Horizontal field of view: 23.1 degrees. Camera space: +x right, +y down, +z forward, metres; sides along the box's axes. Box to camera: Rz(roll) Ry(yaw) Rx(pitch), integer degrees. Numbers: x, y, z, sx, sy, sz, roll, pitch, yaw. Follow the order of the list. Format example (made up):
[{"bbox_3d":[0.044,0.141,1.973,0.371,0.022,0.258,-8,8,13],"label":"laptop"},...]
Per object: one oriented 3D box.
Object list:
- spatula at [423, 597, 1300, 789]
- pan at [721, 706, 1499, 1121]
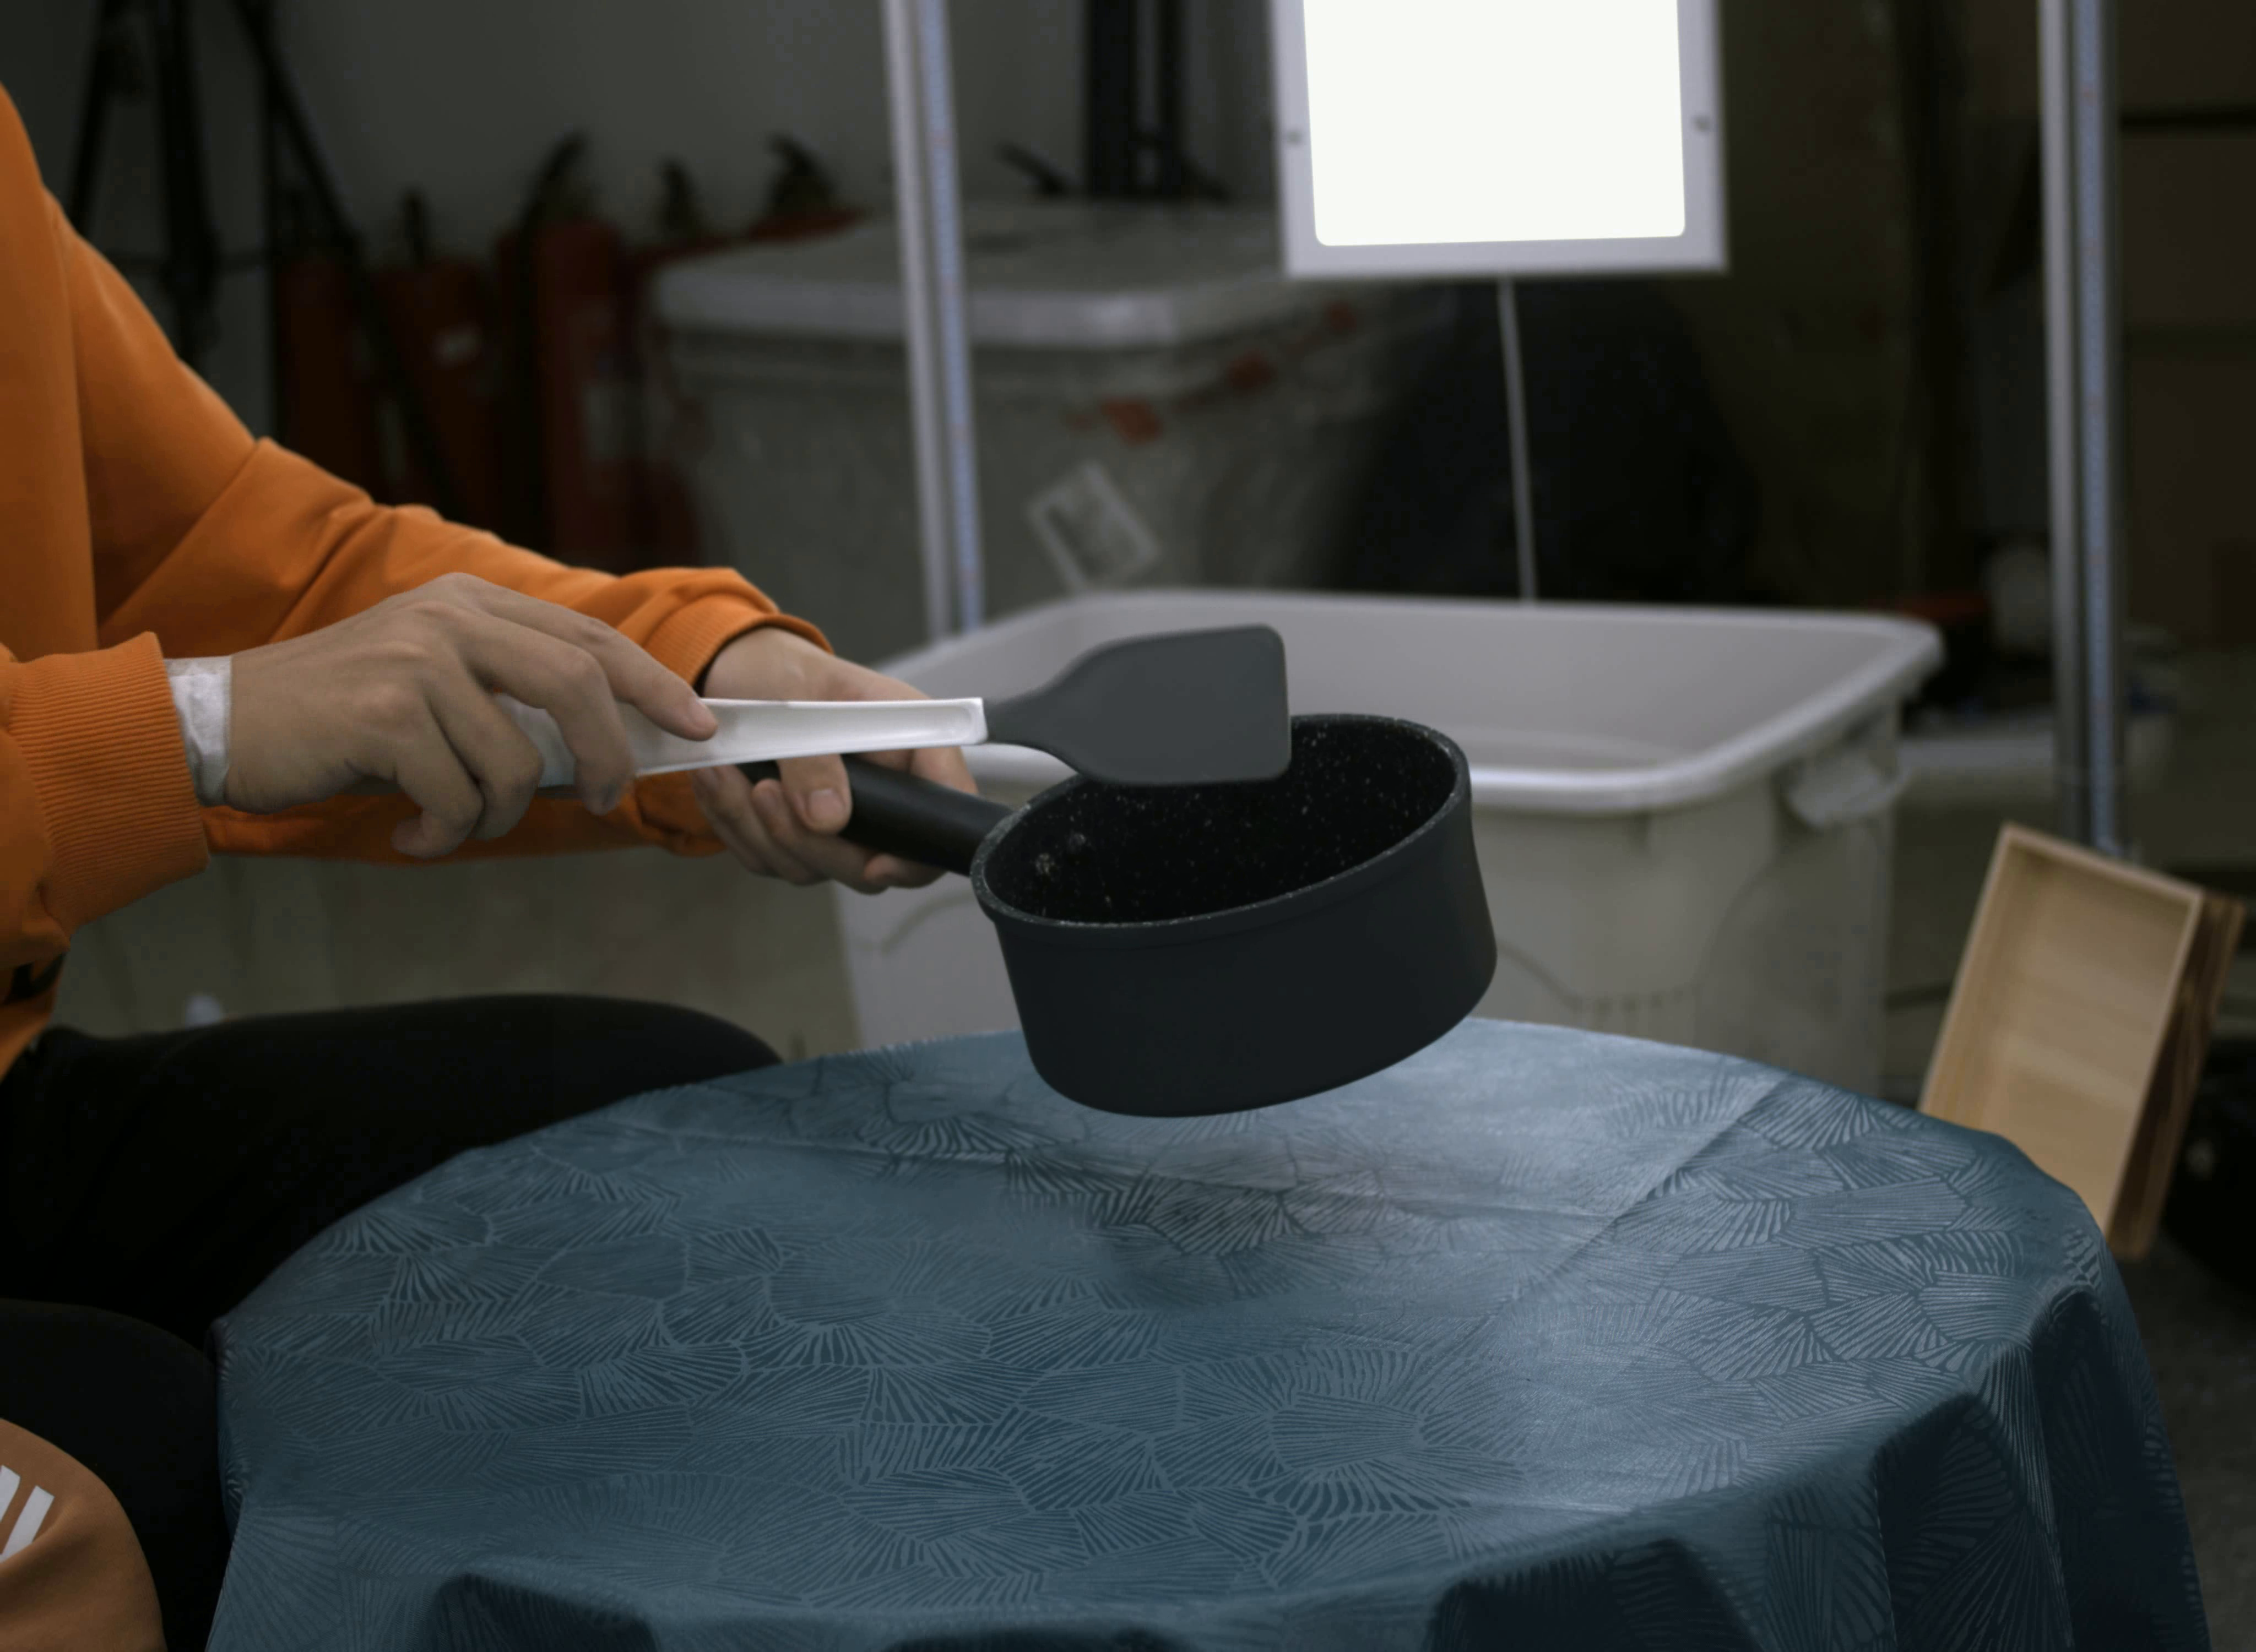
[{"bbox_3d":[-0.084,-0.037,1.785,0.285,0.059,0.032,-4,3,-5],"label":"spatula"},{"bbox_3d":[-0.018,0.019,1.908,0.336,0.086,0.168,10,31,45],"label":"pan"}]
